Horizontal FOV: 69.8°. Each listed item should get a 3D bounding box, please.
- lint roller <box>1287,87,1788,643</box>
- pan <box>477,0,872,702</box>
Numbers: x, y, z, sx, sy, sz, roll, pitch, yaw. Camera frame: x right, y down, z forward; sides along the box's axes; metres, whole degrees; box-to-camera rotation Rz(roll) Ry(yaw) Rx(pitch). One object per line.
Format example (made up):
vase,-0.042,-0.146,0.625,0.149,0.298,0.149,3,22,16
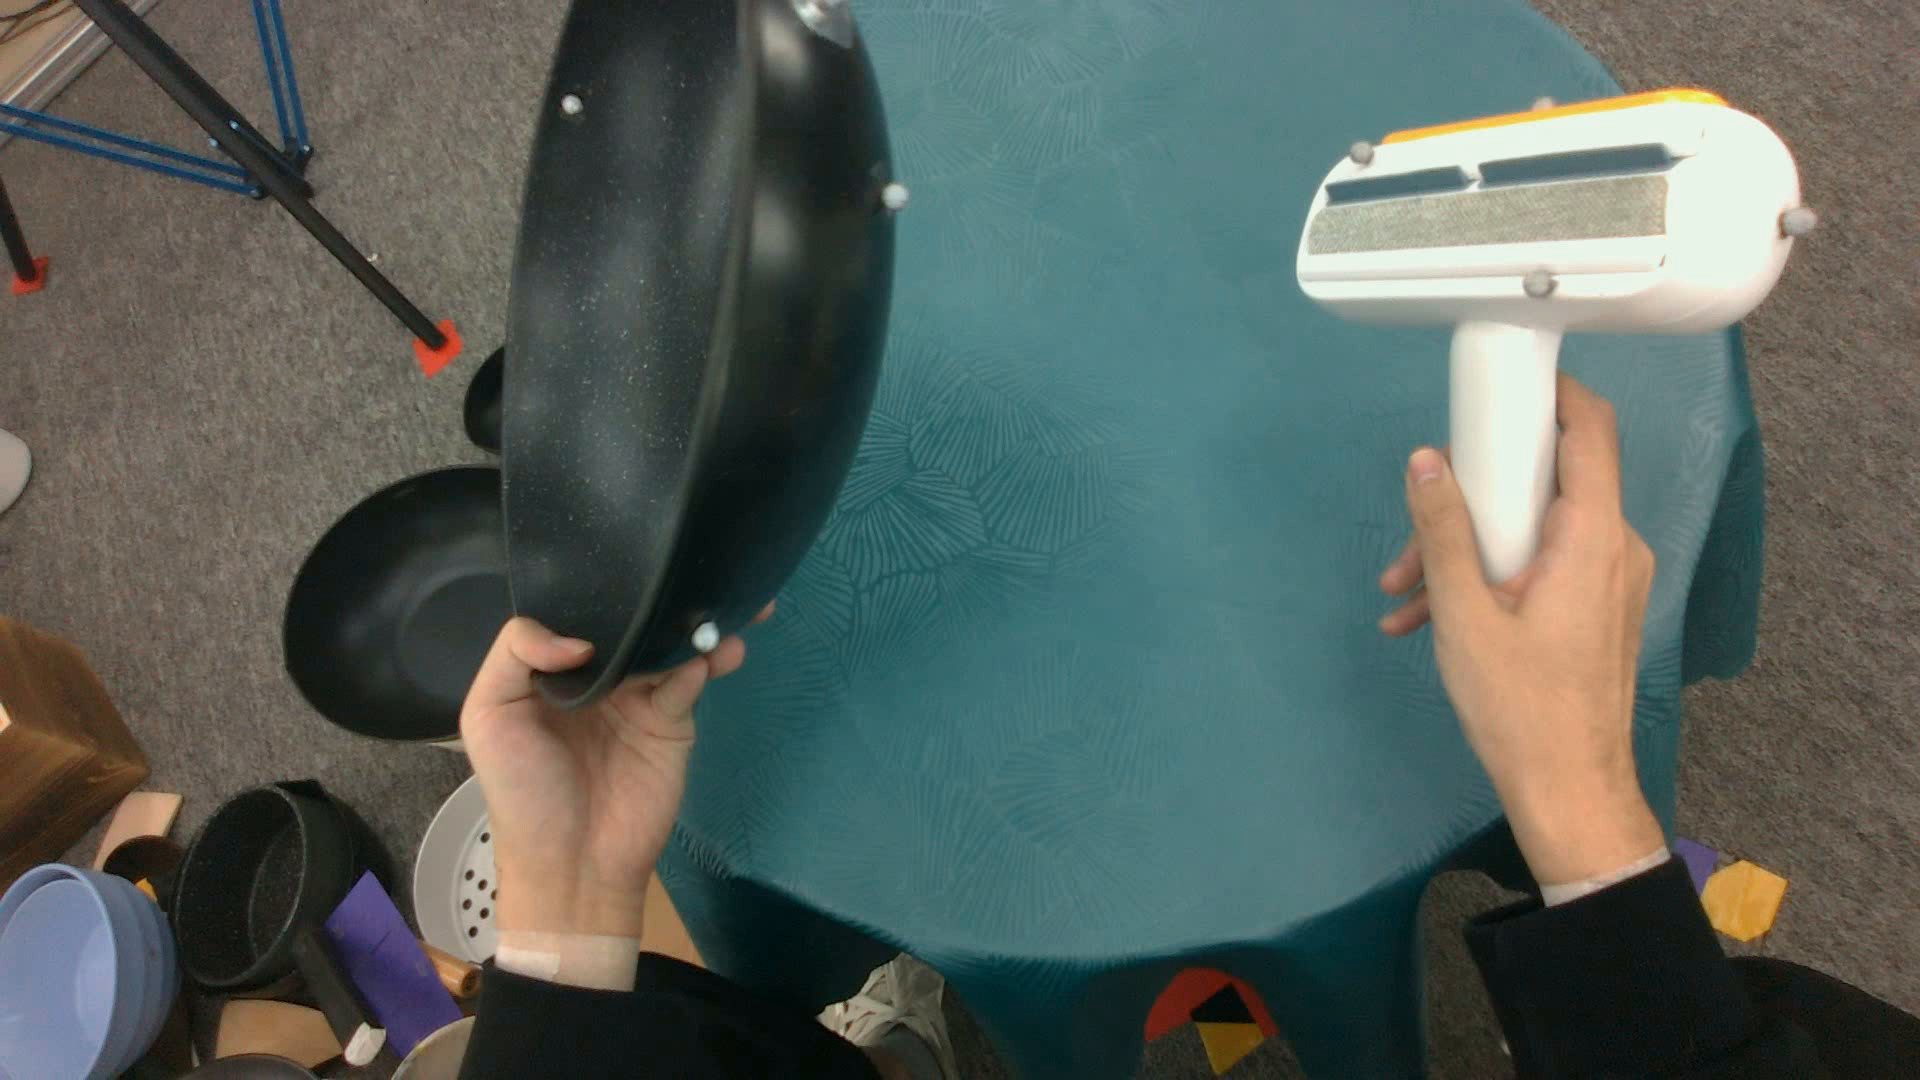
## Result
lint roller,0.183,-0.056,0.487,0.193,0.074,0.192,27,111,60
pan,-0.083,-0.140,0.467,0.112,0.474,0.311,3,55,-30
